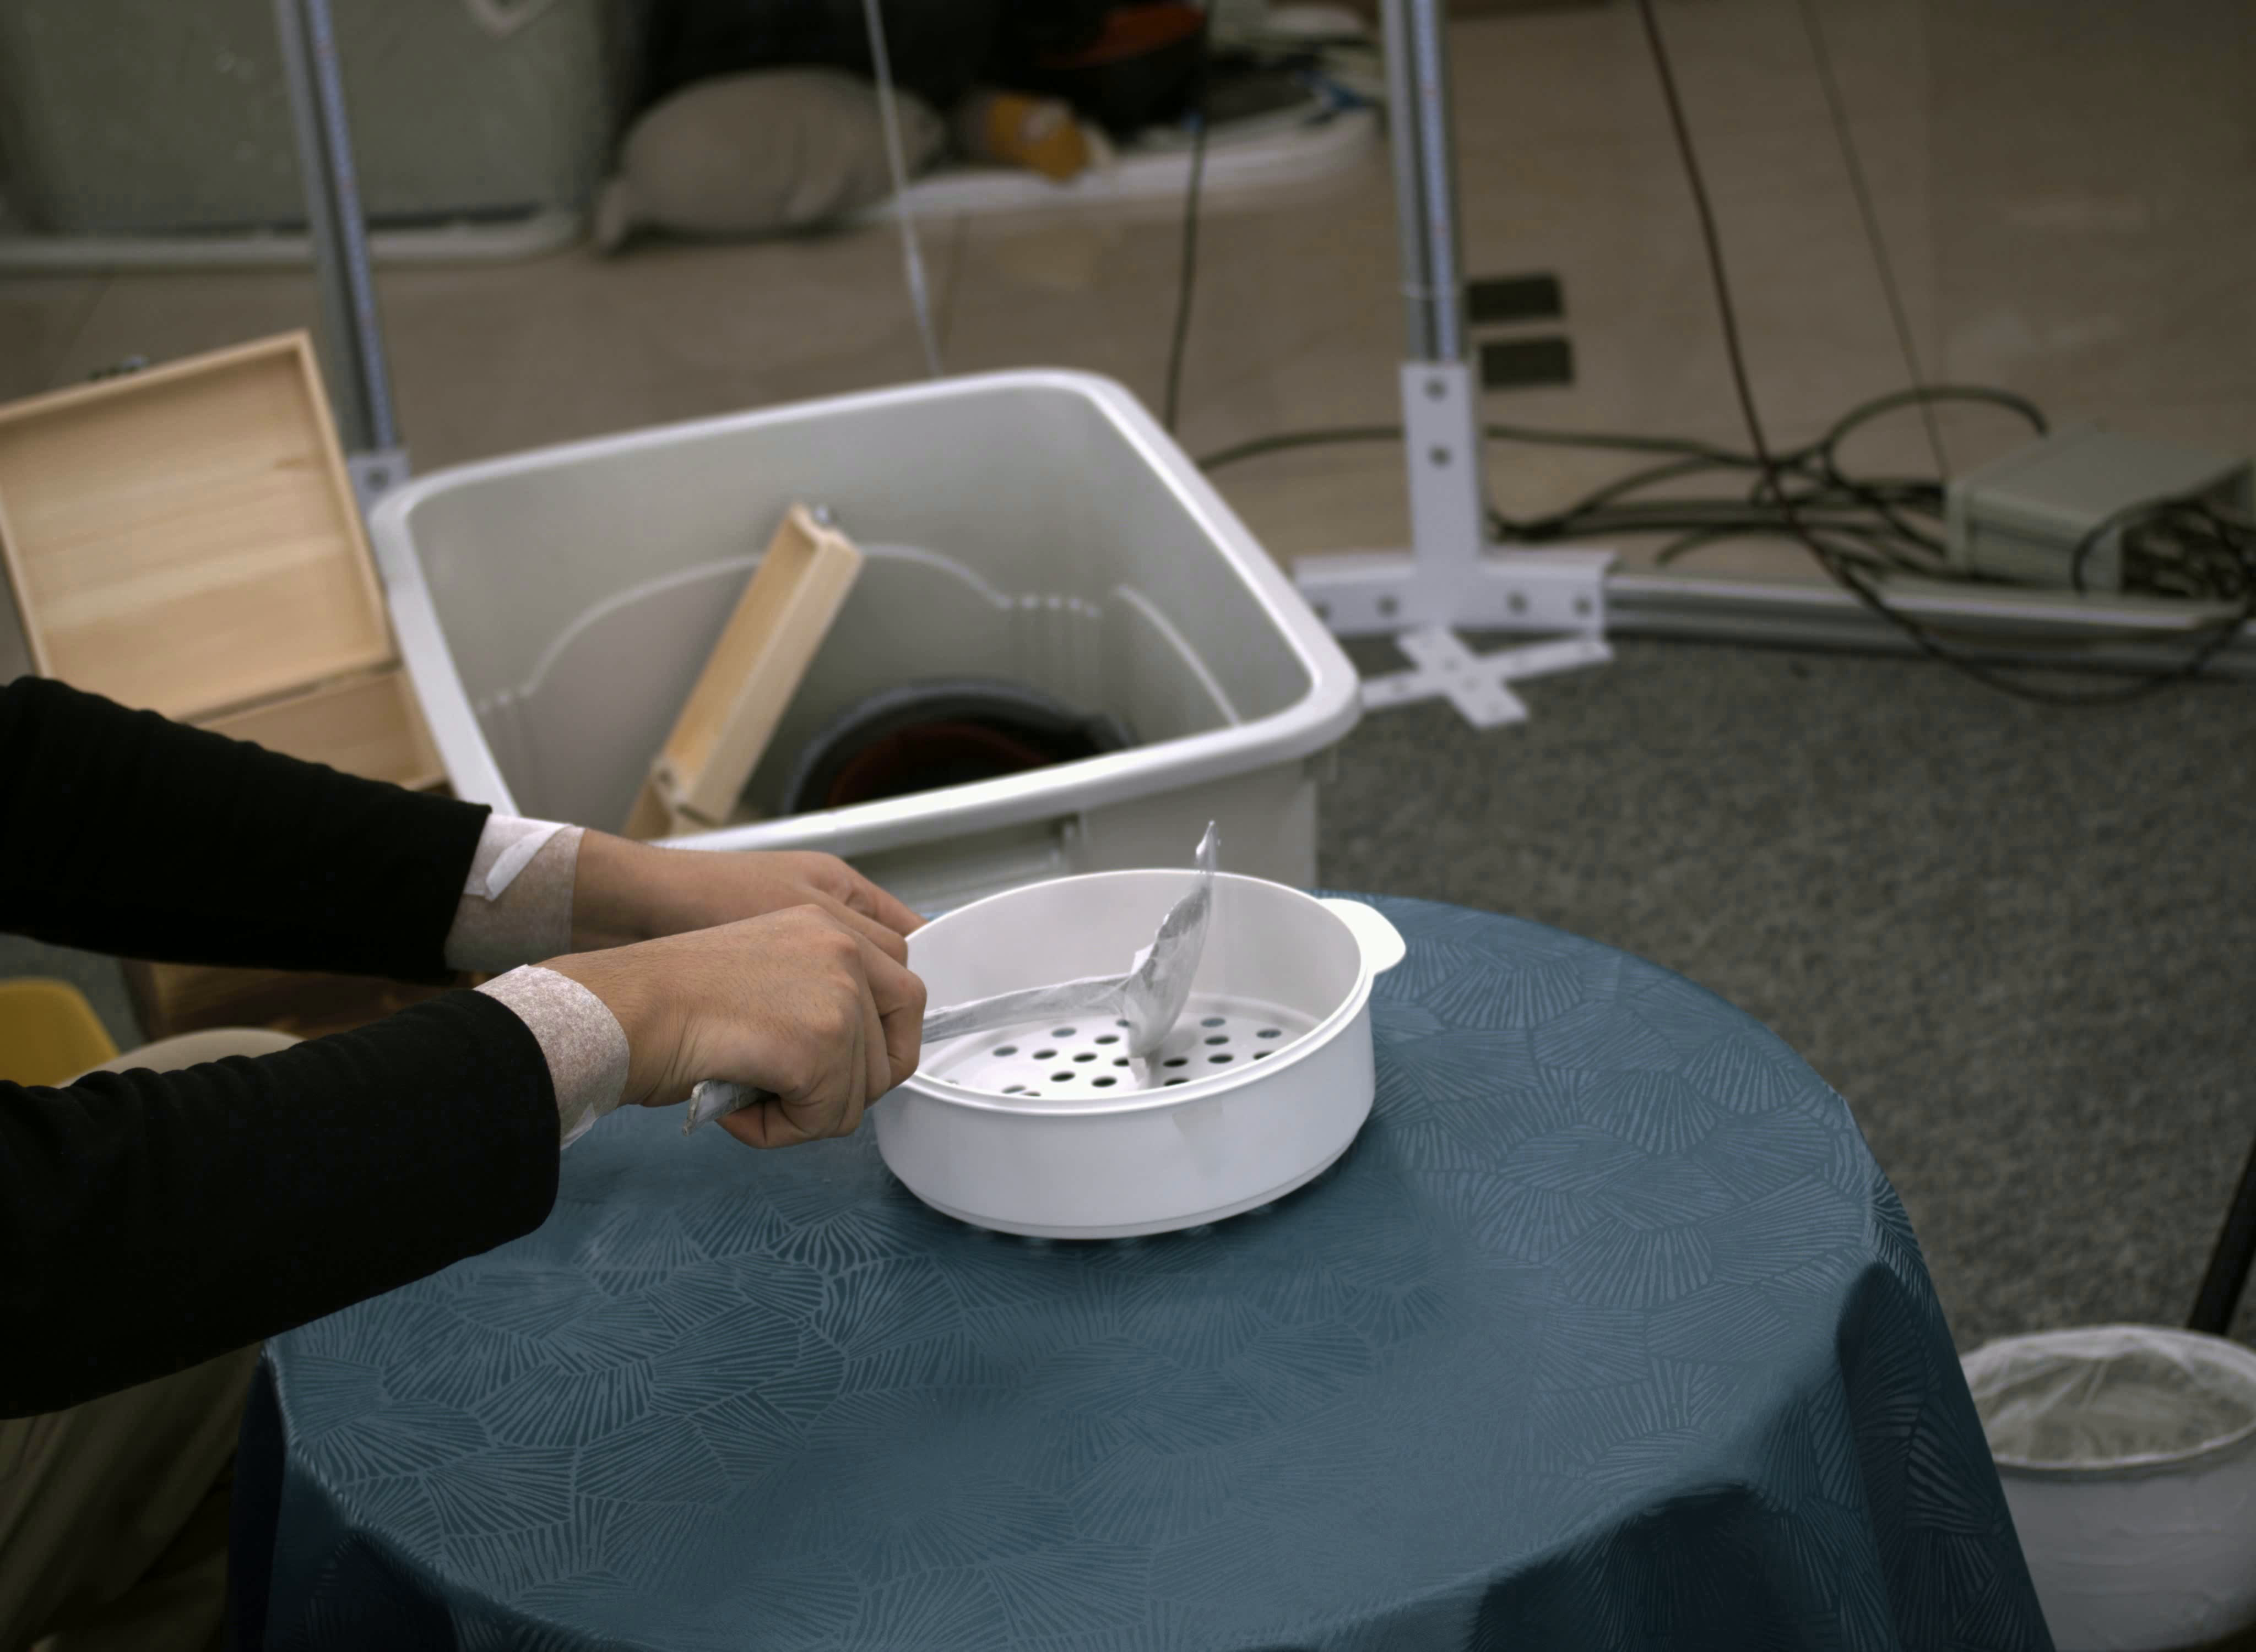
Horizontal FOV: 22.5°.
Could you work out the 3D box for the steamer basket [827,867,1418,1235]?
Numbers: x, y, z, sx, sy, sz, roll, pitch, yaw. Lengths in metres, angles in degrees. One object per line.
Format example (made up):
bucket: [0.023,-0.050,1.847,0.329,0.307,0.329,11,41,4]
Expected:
steamer basket: [0.002,0.087,2.176,0.230,0.070,0.199,-14,25,-12]

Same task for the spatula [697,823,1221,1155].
spatula: [-0.058,0.070,2.086,0.044,0.100,0.363,28,23,29]
